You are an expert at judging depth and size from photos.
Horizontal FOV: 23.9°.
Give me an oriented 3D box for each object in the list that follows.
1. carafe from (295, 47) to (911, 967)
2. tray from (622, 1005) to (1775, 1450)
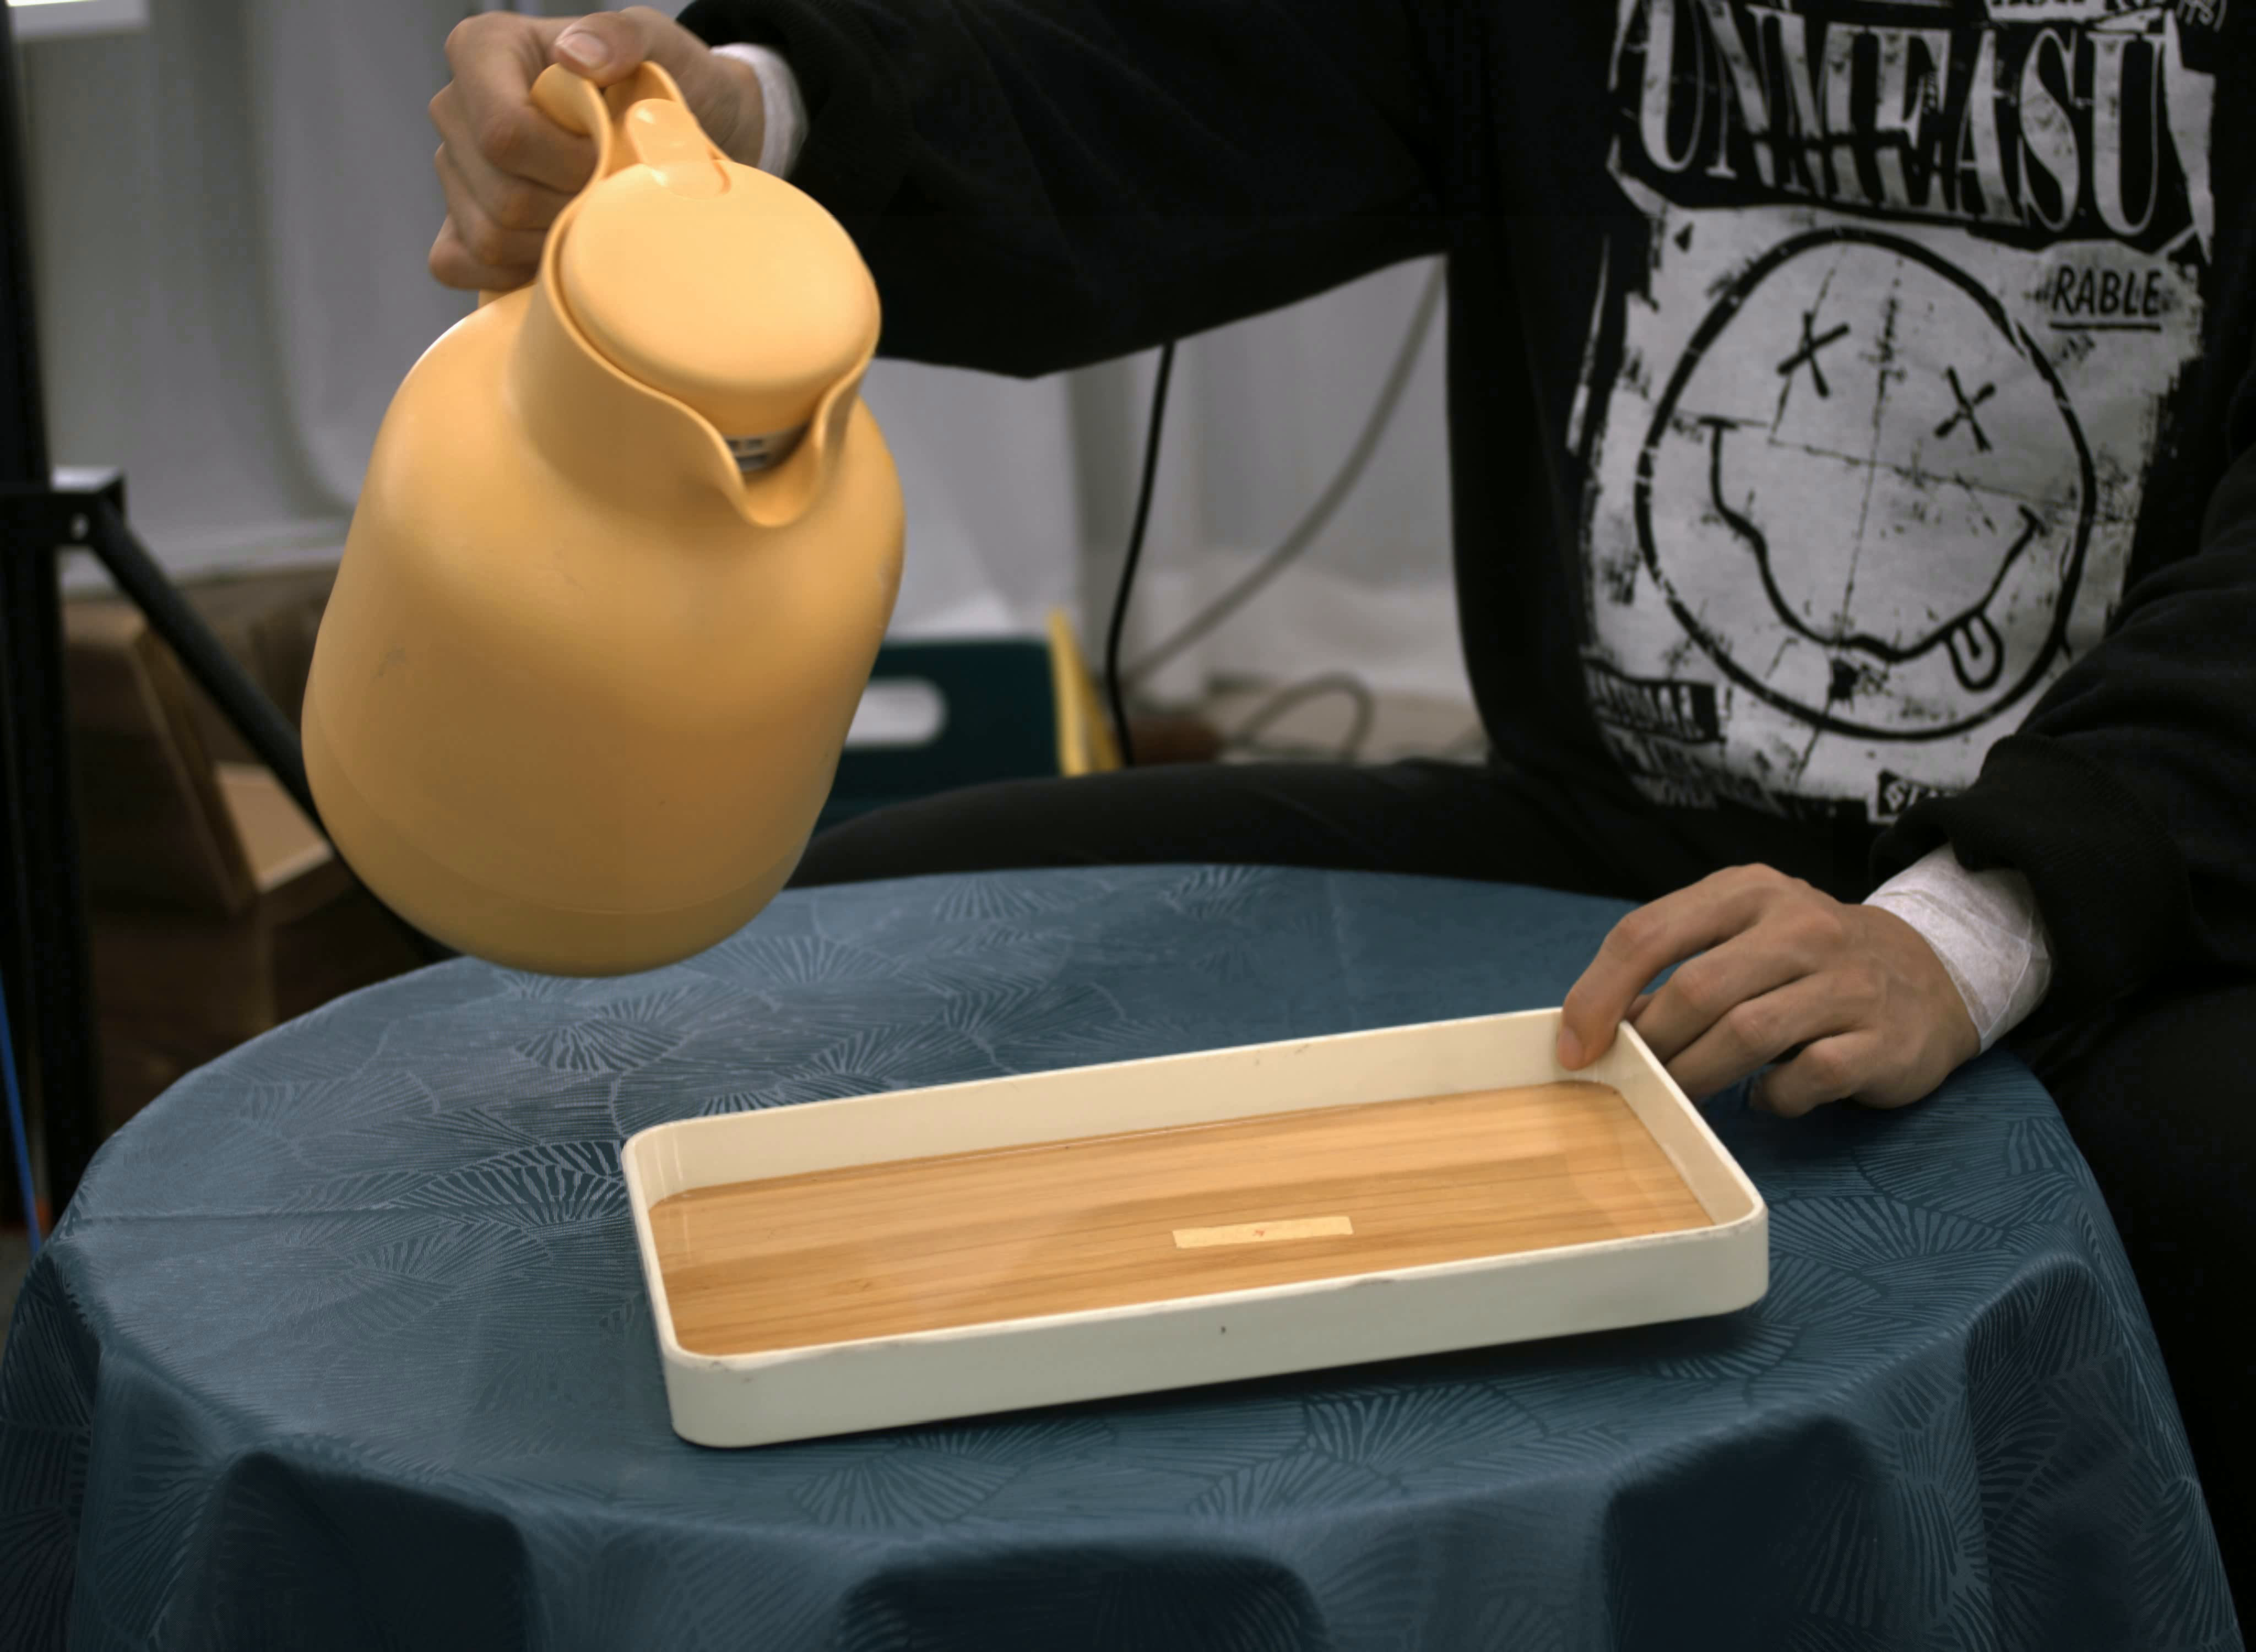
[{"bbox_3d":[-0.151,-0.100,1.594,0.160,0.262,0.206,-2,55,-25],"label":"carafe"},{"bbox_3d":[0.014,0.108,1.474,0.297,0.027,0.193,-7,18,-6],"label":"tray"}]
